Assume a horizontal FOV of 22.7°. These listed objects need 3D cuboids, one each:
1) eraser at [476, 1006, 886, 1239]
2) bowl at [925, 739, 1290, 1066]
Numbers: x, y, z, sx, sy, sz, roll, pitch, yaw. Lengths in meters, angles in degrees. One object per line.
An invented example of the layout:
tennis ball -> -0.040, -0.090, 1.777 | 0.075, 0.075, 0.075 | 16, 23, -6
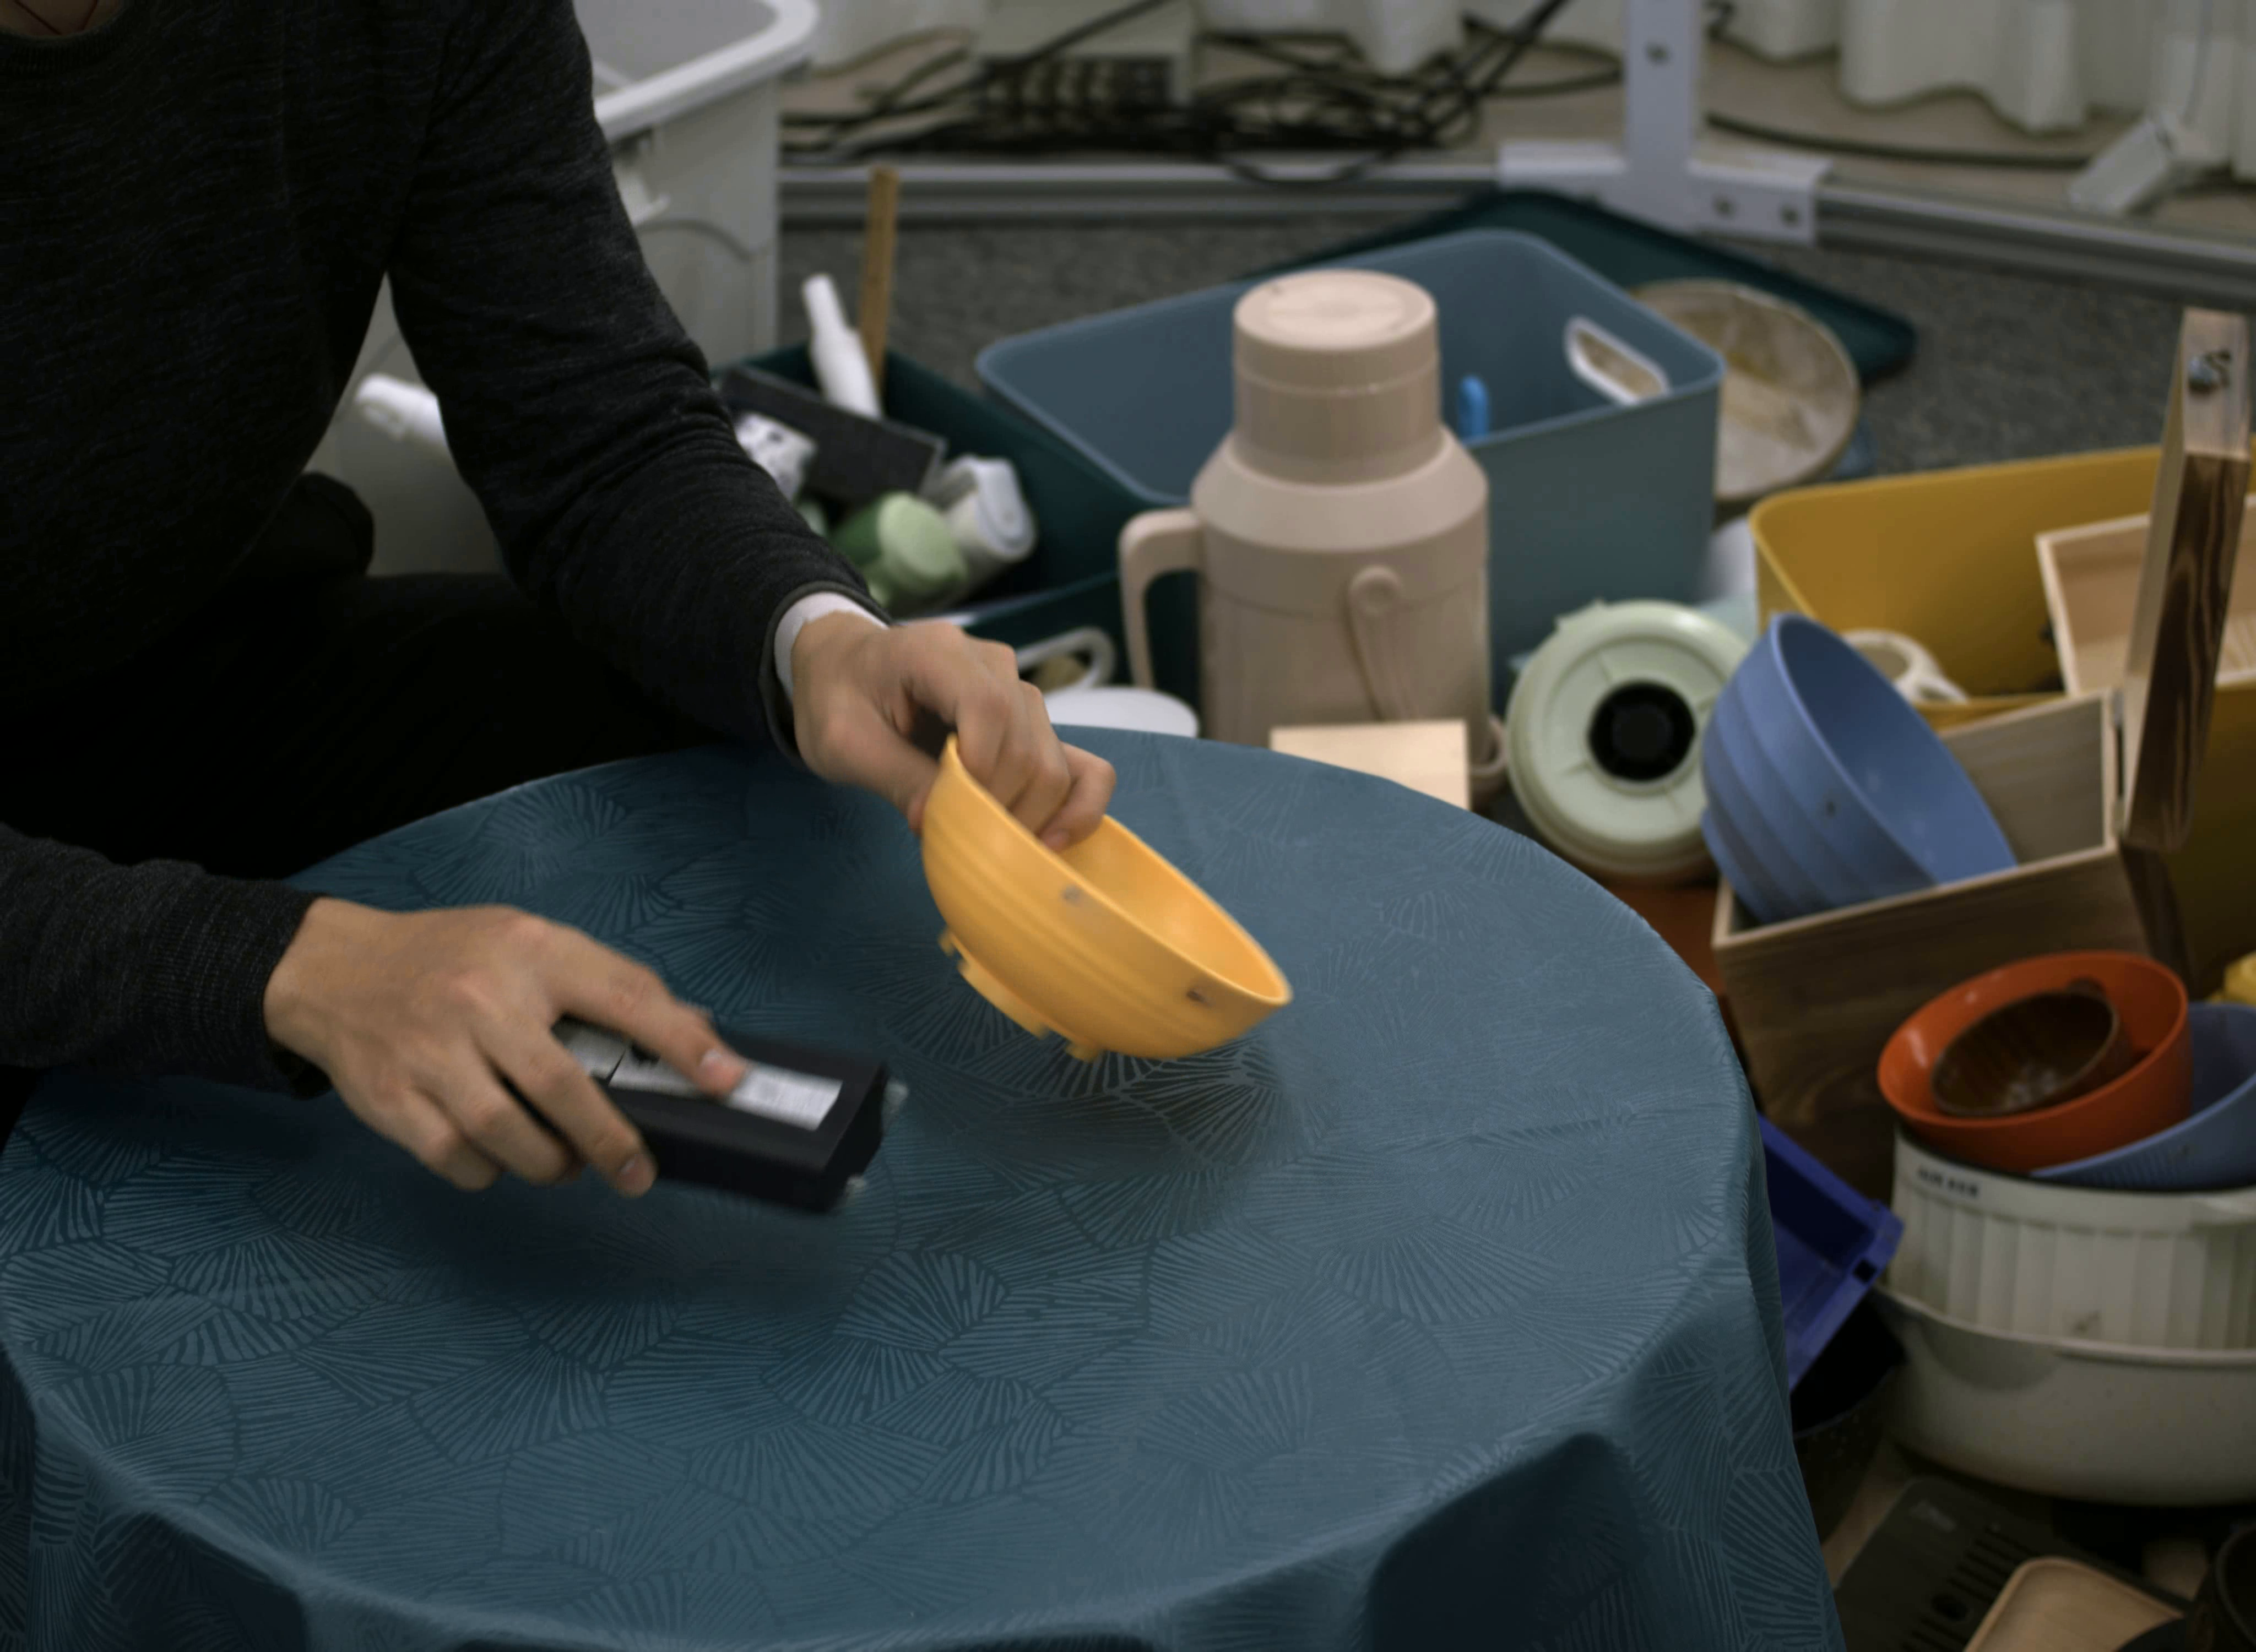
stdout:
eraser -> -0.143, 0.095, 1.811 | 0.125, 0.030, 0.054 | 13, 40, 16
bowl -> -0.019, 0.038, 1.900 | 0.145, 0.060, 0.146 | 36, 8, -5
